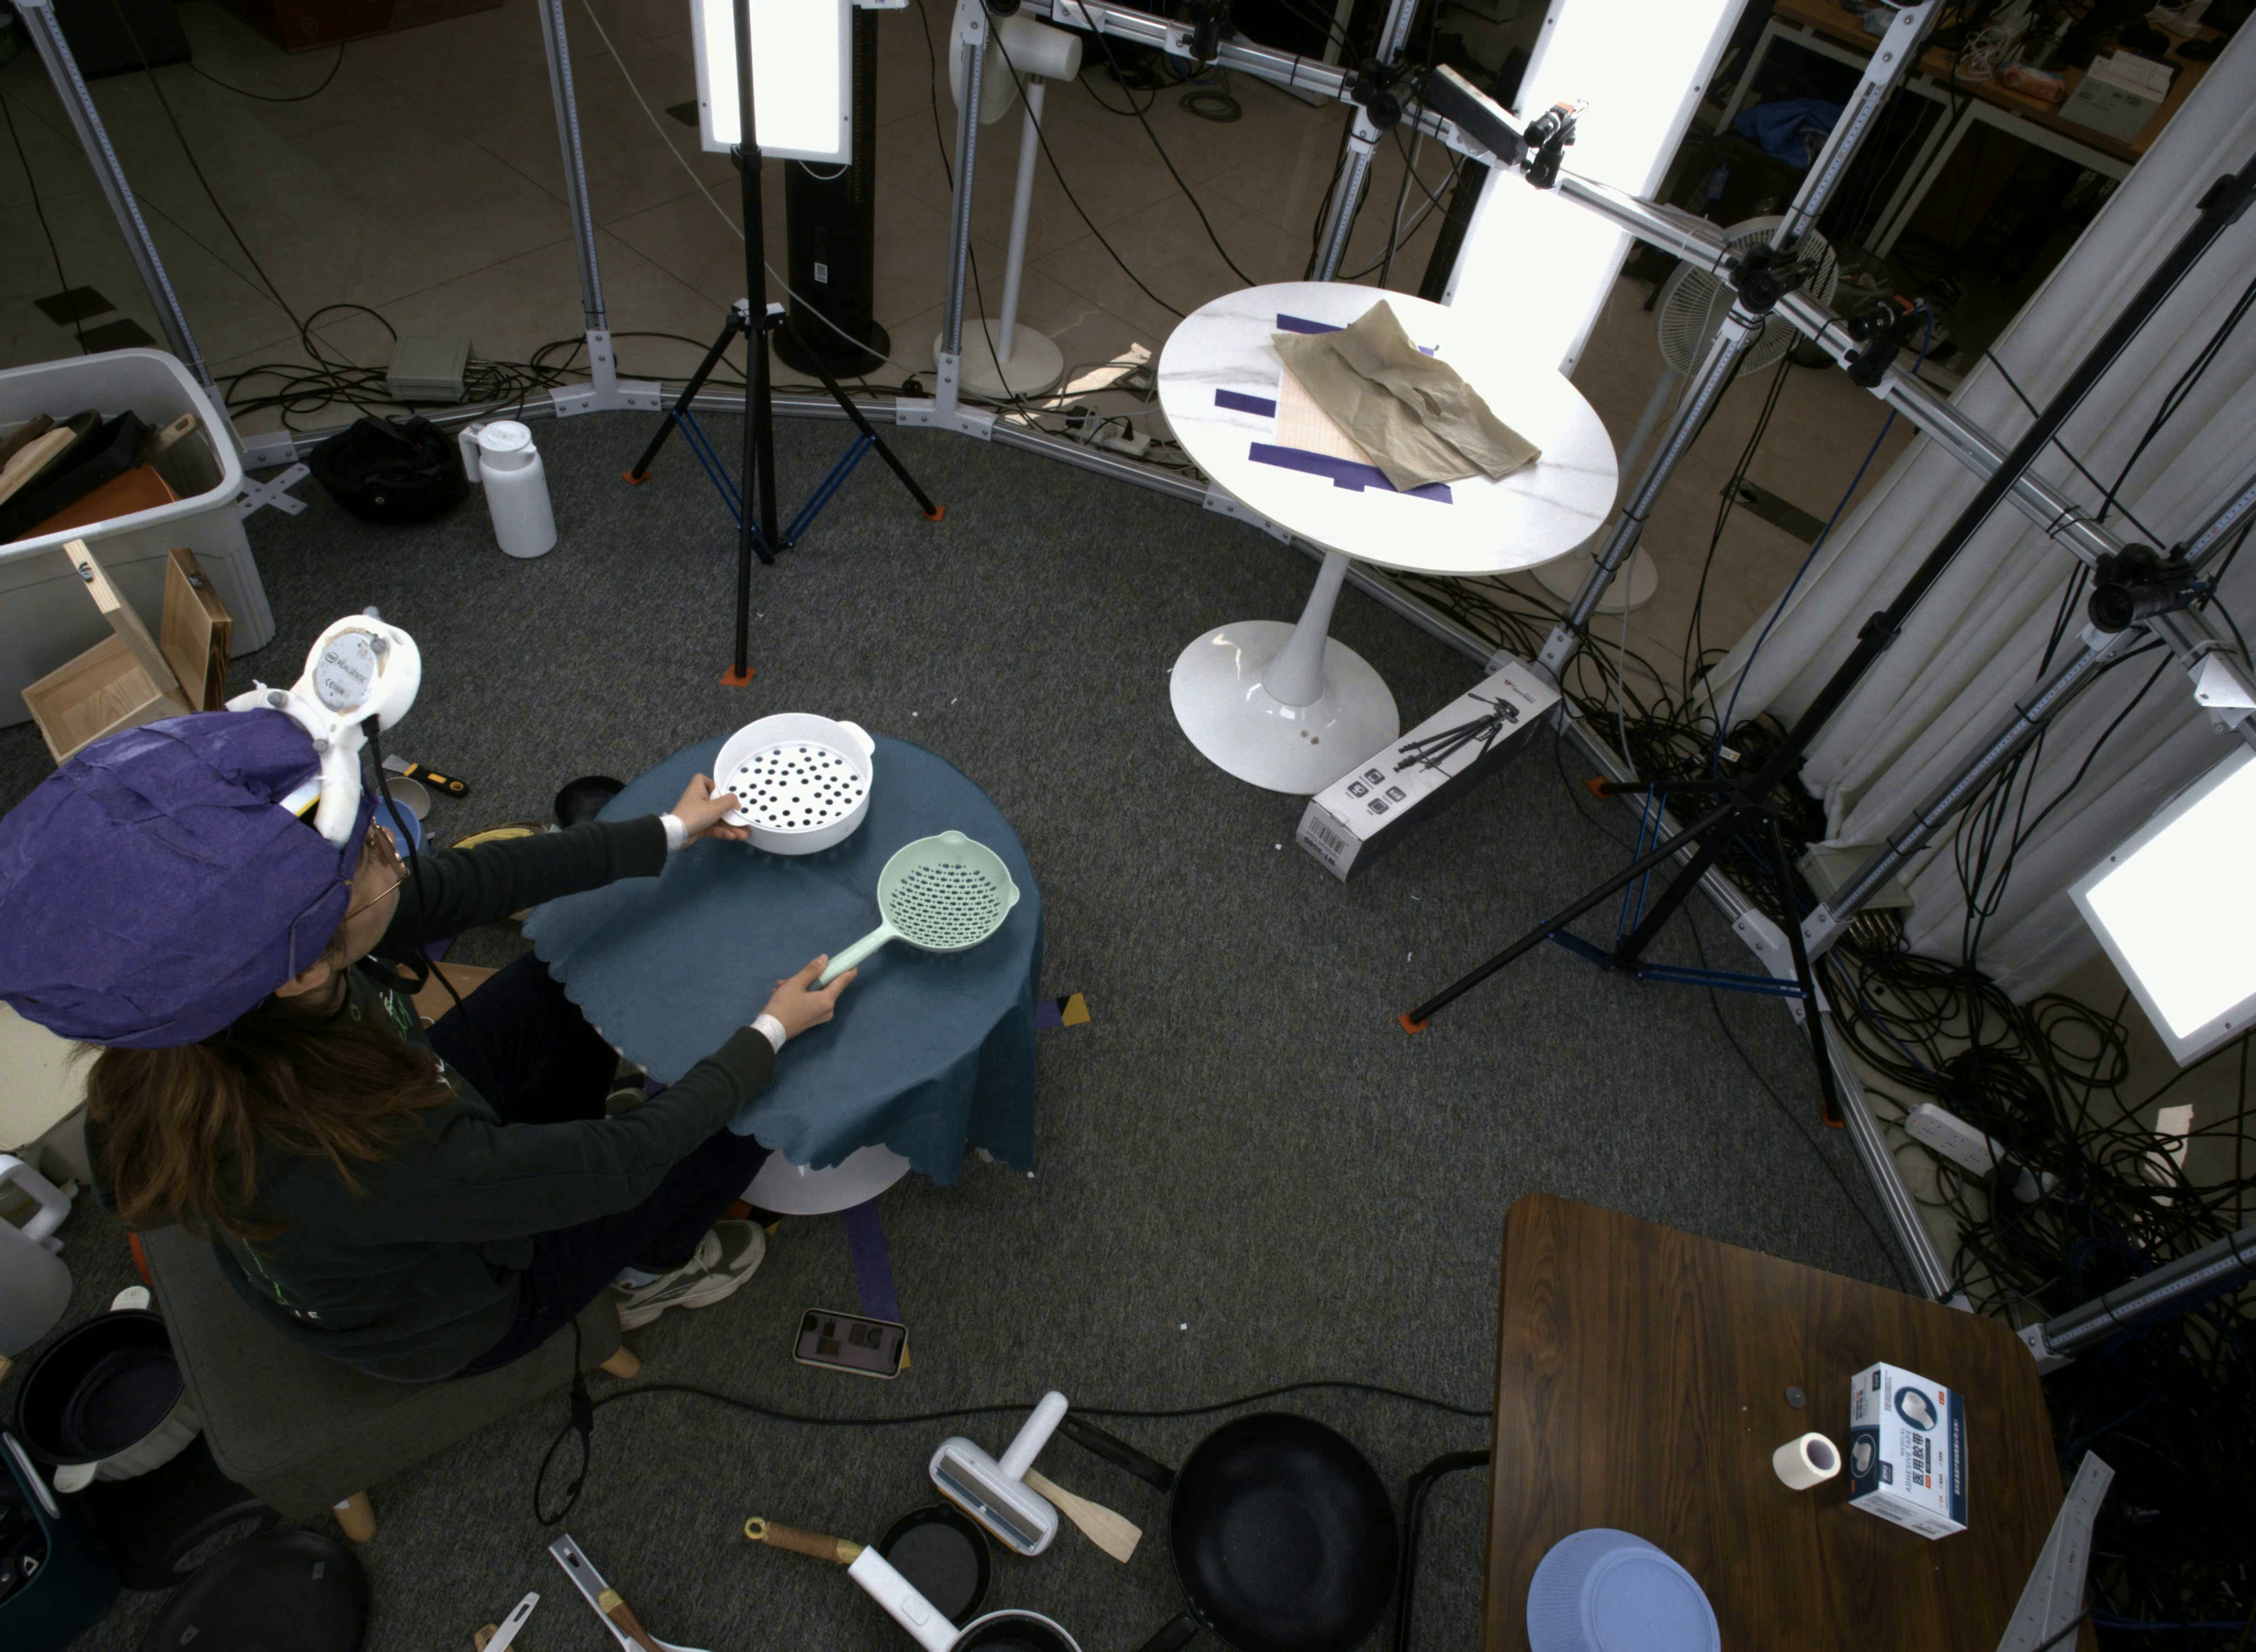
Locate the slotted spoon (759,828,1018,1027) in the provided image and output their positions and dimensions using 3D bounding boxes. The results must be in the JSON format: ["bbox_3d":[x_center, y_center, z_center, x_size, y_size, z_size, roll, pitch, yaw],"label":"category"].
[{"bbox_3d":[-0.302,0.134,1.609,0.165,0.077,0.360,43,50,20],"label":"slotted spoon"}]

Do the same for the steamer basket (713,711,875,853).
[{"bbox_3d":[-0.436,-0.057,1.708,0.197,0.071,0.231,41,56,19],"label":"steamer basket"}]
